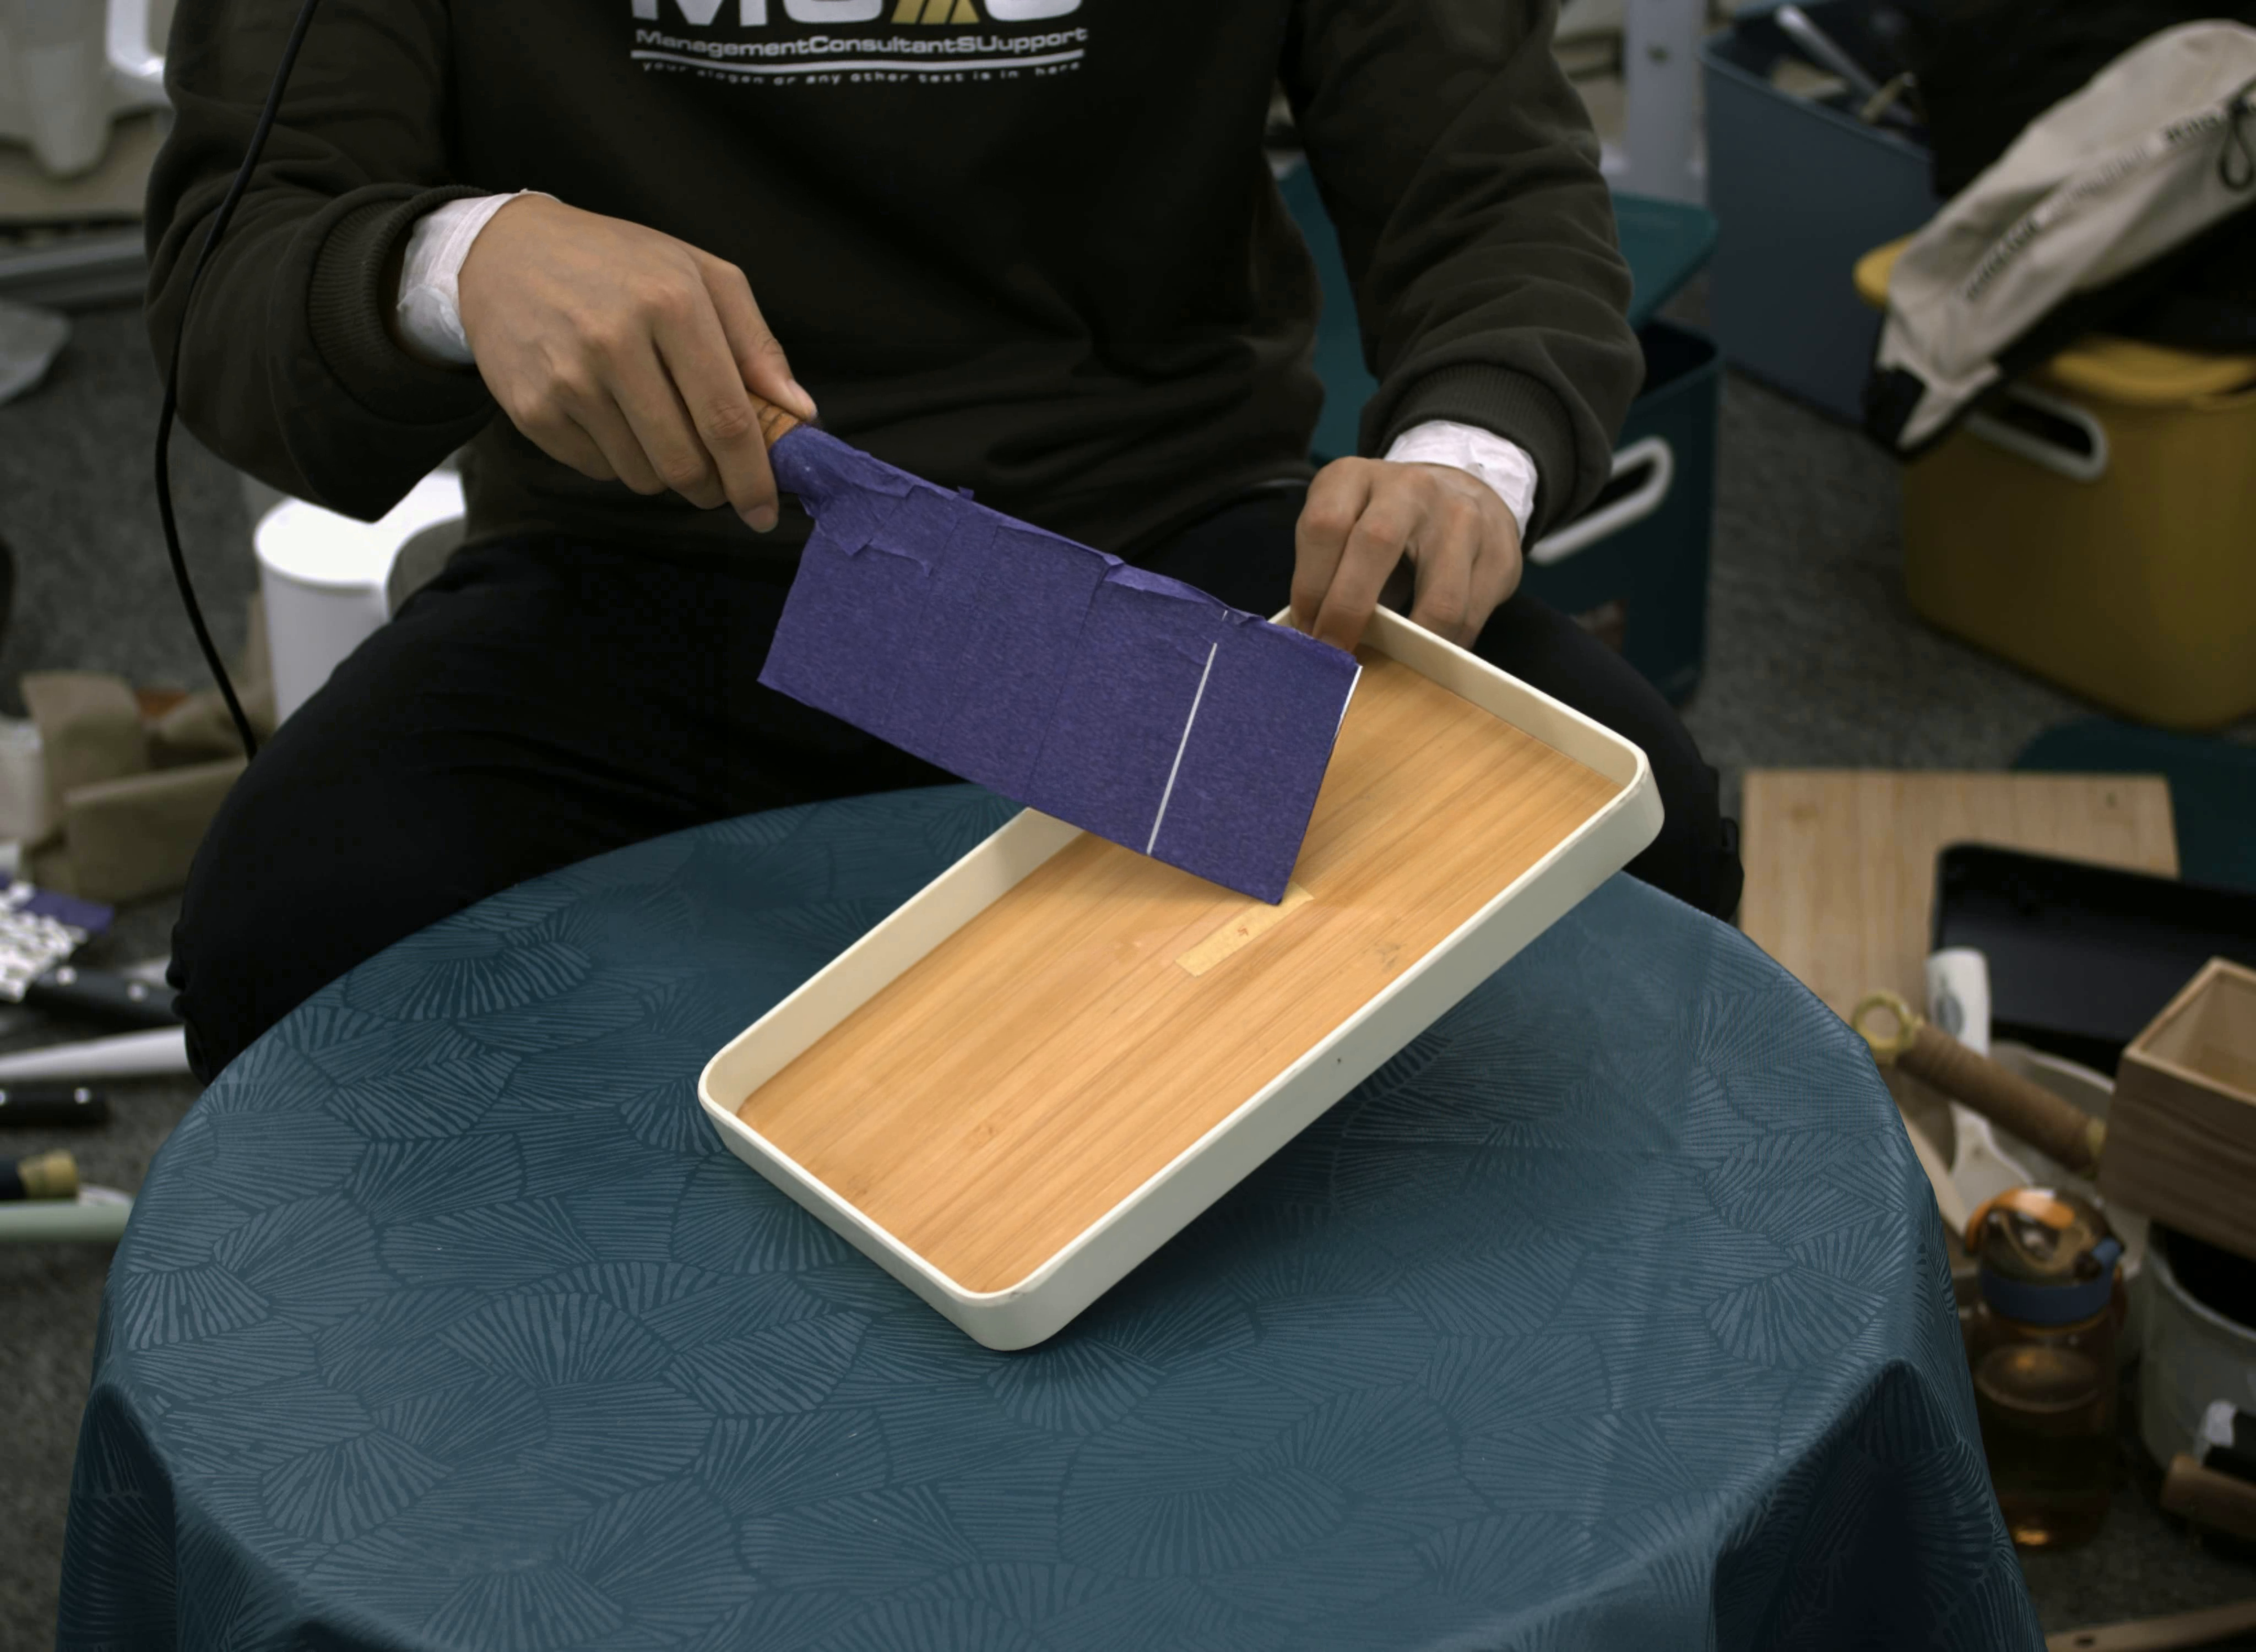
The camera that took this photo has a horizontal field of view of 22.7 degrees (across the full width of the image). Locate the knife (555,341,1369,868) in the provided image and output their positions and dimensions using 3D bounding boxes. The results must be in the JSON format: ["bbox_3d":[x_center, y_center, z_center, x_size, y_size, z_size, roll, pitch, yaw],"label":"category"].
[{"bbox_3d":[-0.070,-0.074,1.933,0.314,0.104,0.032,23,7,21],"label":"knife"}]

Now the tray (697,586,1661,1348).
[{"bbox_3d":[0.016,0.041,1.881,0.303,0.027,0.192,-38,39,-19],"label":"tray"}]
